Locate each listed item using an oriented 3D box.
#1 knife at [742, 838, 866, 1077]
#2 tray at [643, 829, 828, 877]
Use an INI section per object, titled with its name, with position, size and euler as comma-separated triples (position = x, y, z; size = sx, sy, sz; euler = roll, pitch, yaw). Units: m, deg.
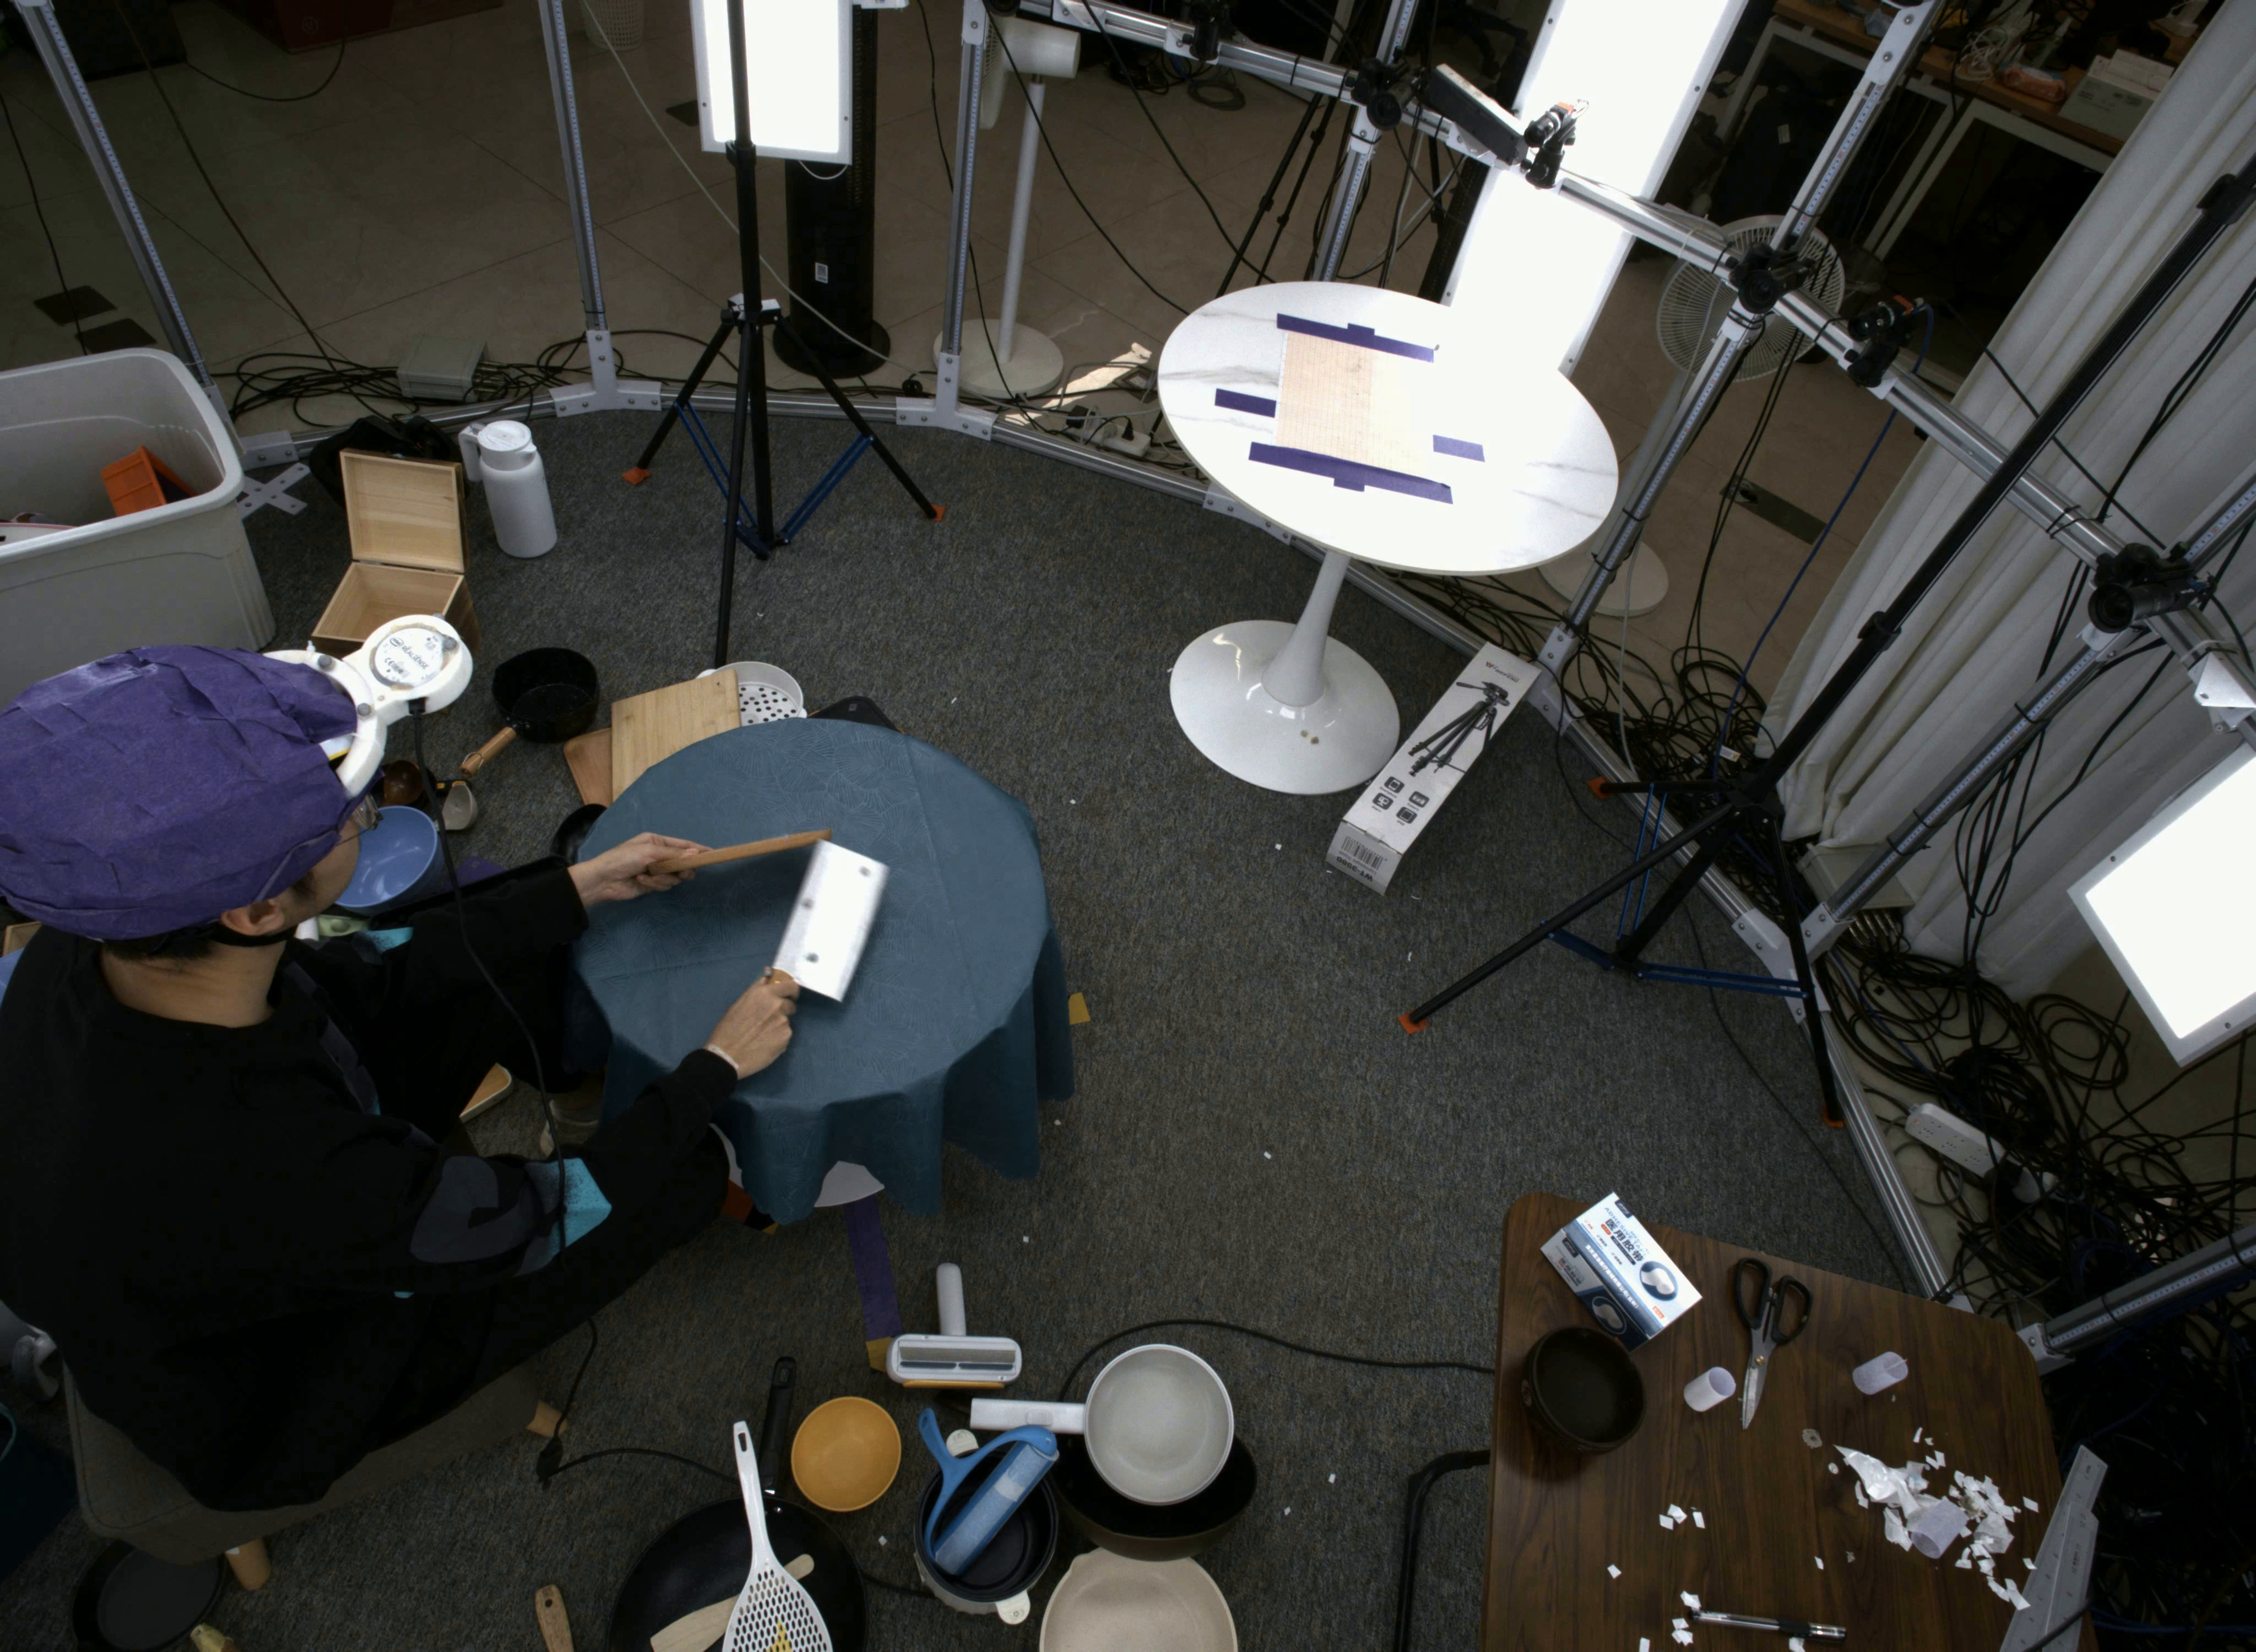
[knife]
position = -0.379, 0.156, 1.543
size = 0.094, 0.021, 0.303
euler = 22, 61, -21
[tray]
position = -0.482, 0.031, 1.594
size = 0.233, 0.099, 0.020
euler = -14, 92, -33
